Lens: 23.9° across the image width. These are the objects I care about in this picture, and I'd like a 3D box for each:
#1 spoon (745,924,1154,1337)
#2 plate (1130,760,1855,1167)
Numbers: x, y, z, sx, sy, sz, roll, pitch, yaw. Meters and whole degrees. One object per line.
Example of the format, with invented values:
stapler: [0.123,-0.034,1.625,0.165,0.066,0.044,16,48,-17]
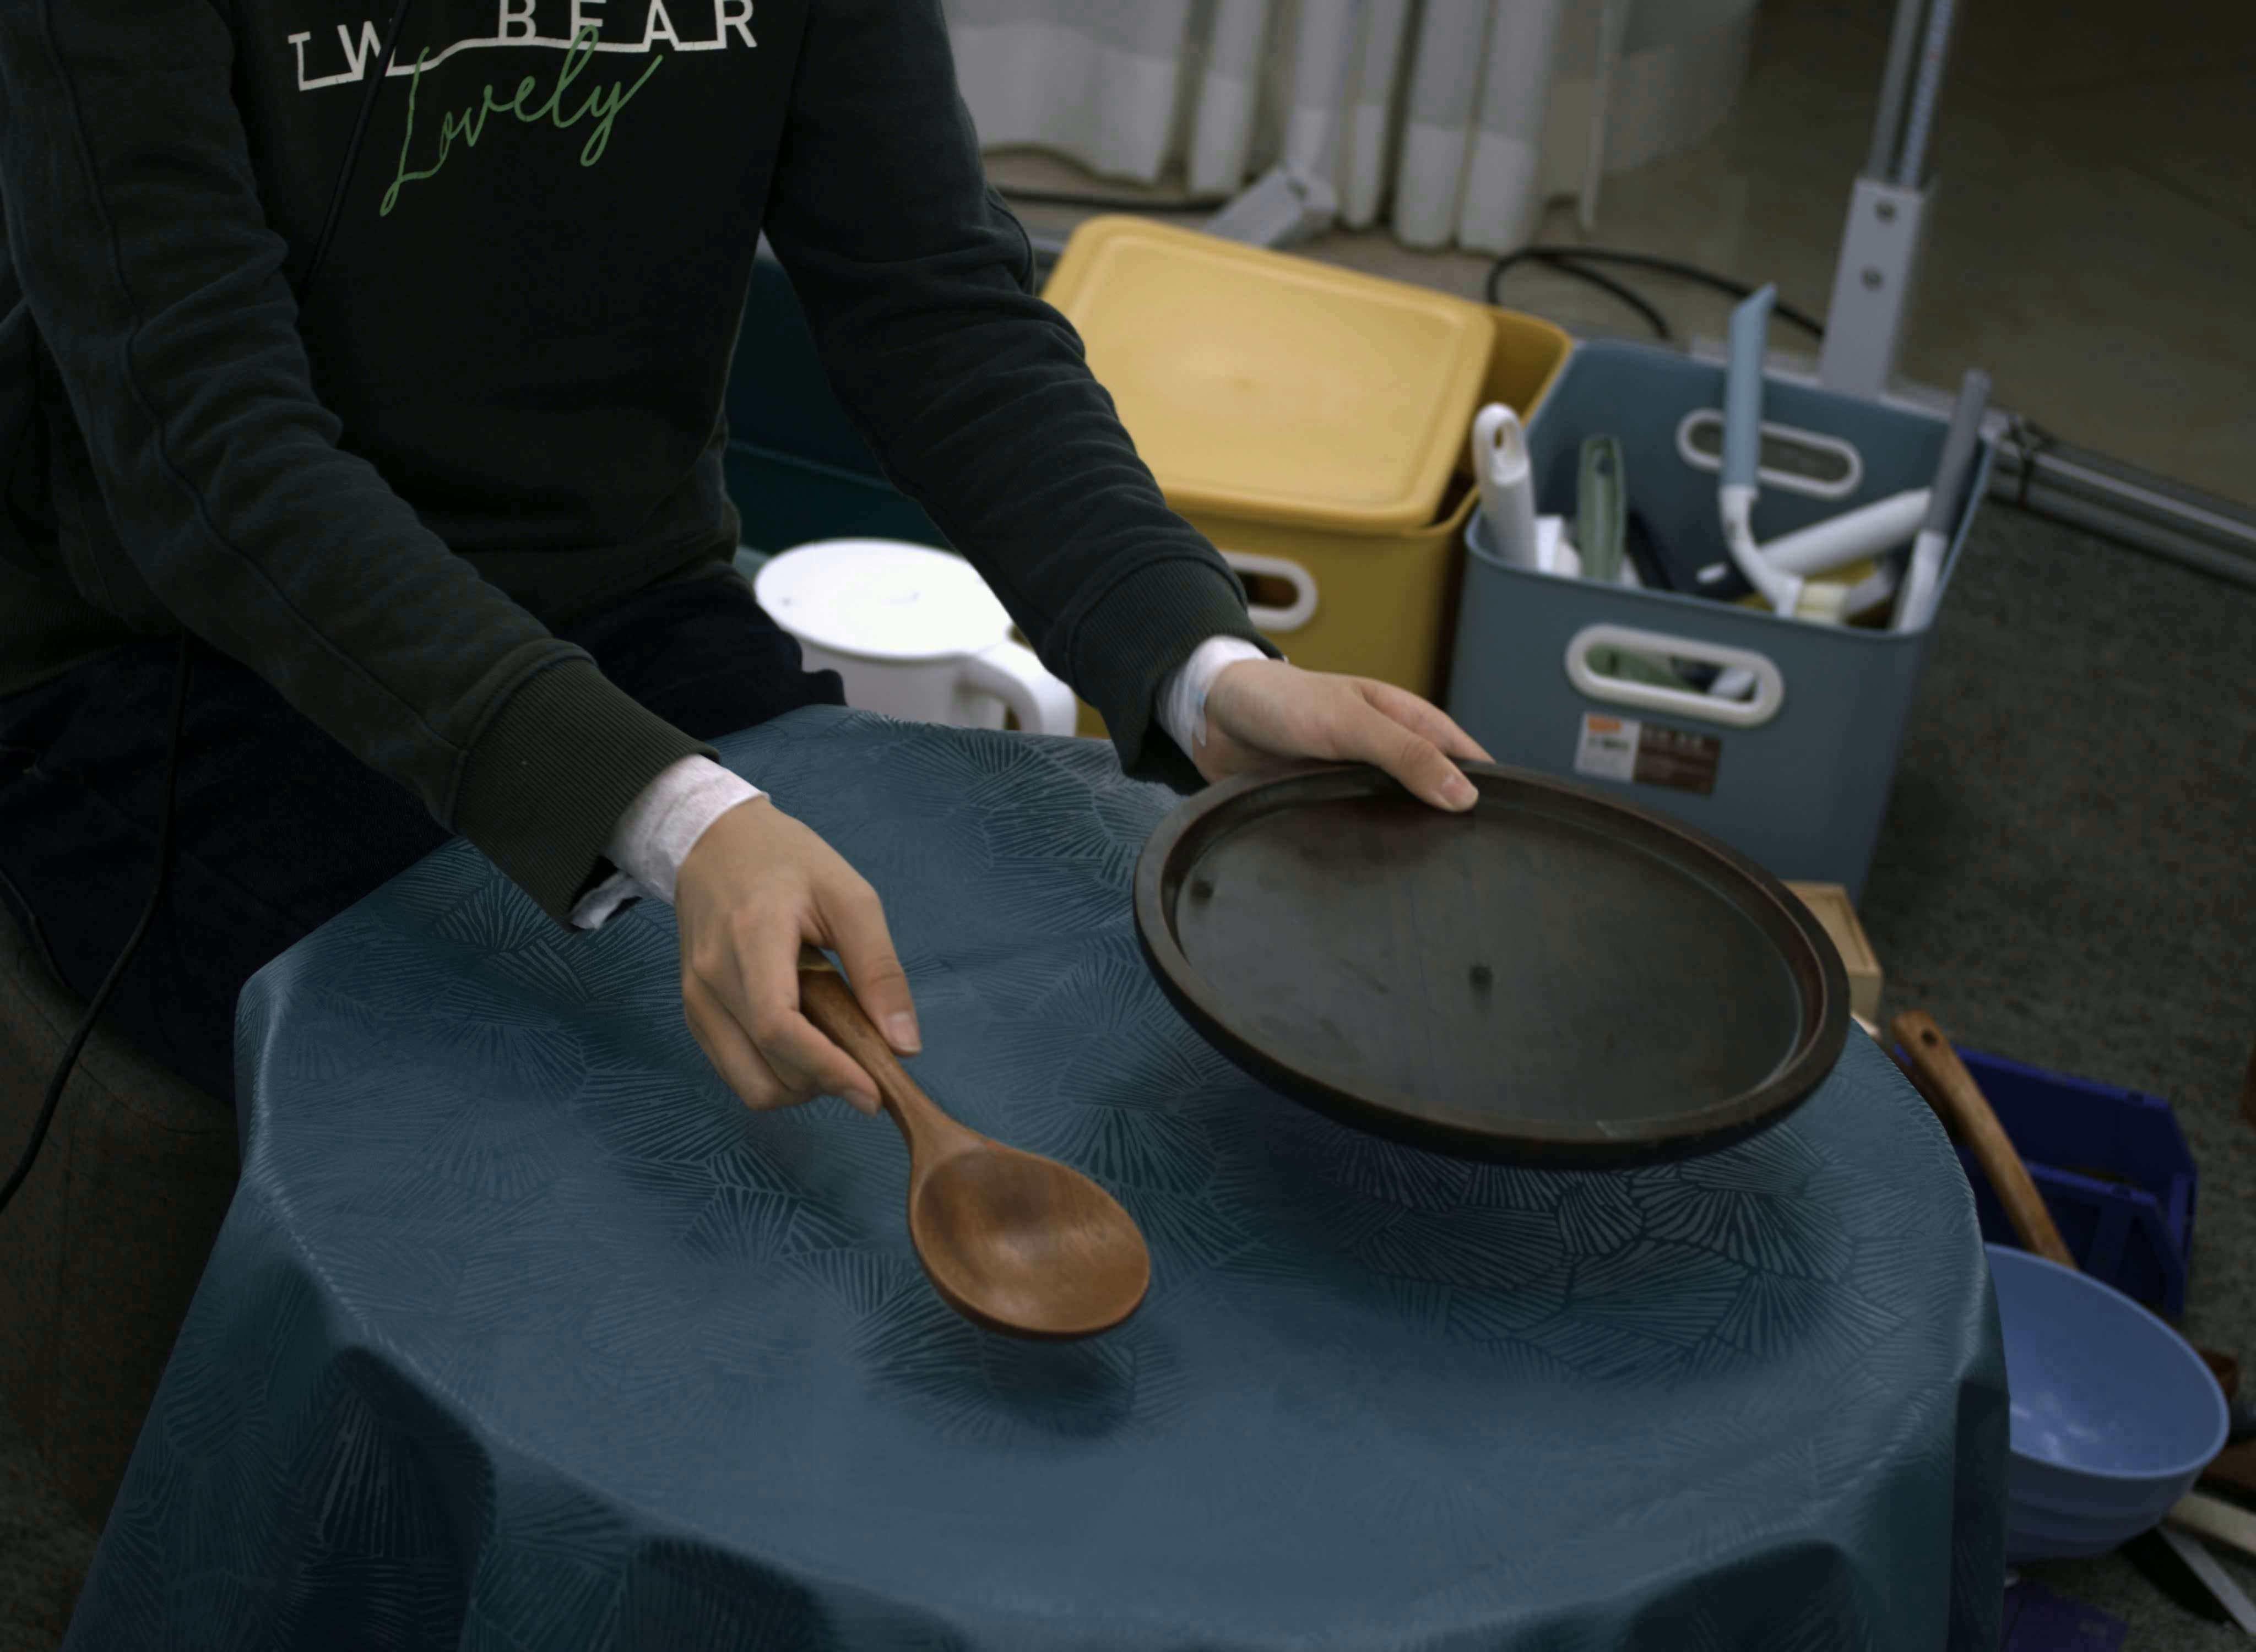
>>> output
spoon: [-0.066,0.099,1.739,0.075,0.017,0.218,-17,44,-28]
plate: [0.124,0.045,1.833,0.254,0.029,0.256,8,29,-5]
